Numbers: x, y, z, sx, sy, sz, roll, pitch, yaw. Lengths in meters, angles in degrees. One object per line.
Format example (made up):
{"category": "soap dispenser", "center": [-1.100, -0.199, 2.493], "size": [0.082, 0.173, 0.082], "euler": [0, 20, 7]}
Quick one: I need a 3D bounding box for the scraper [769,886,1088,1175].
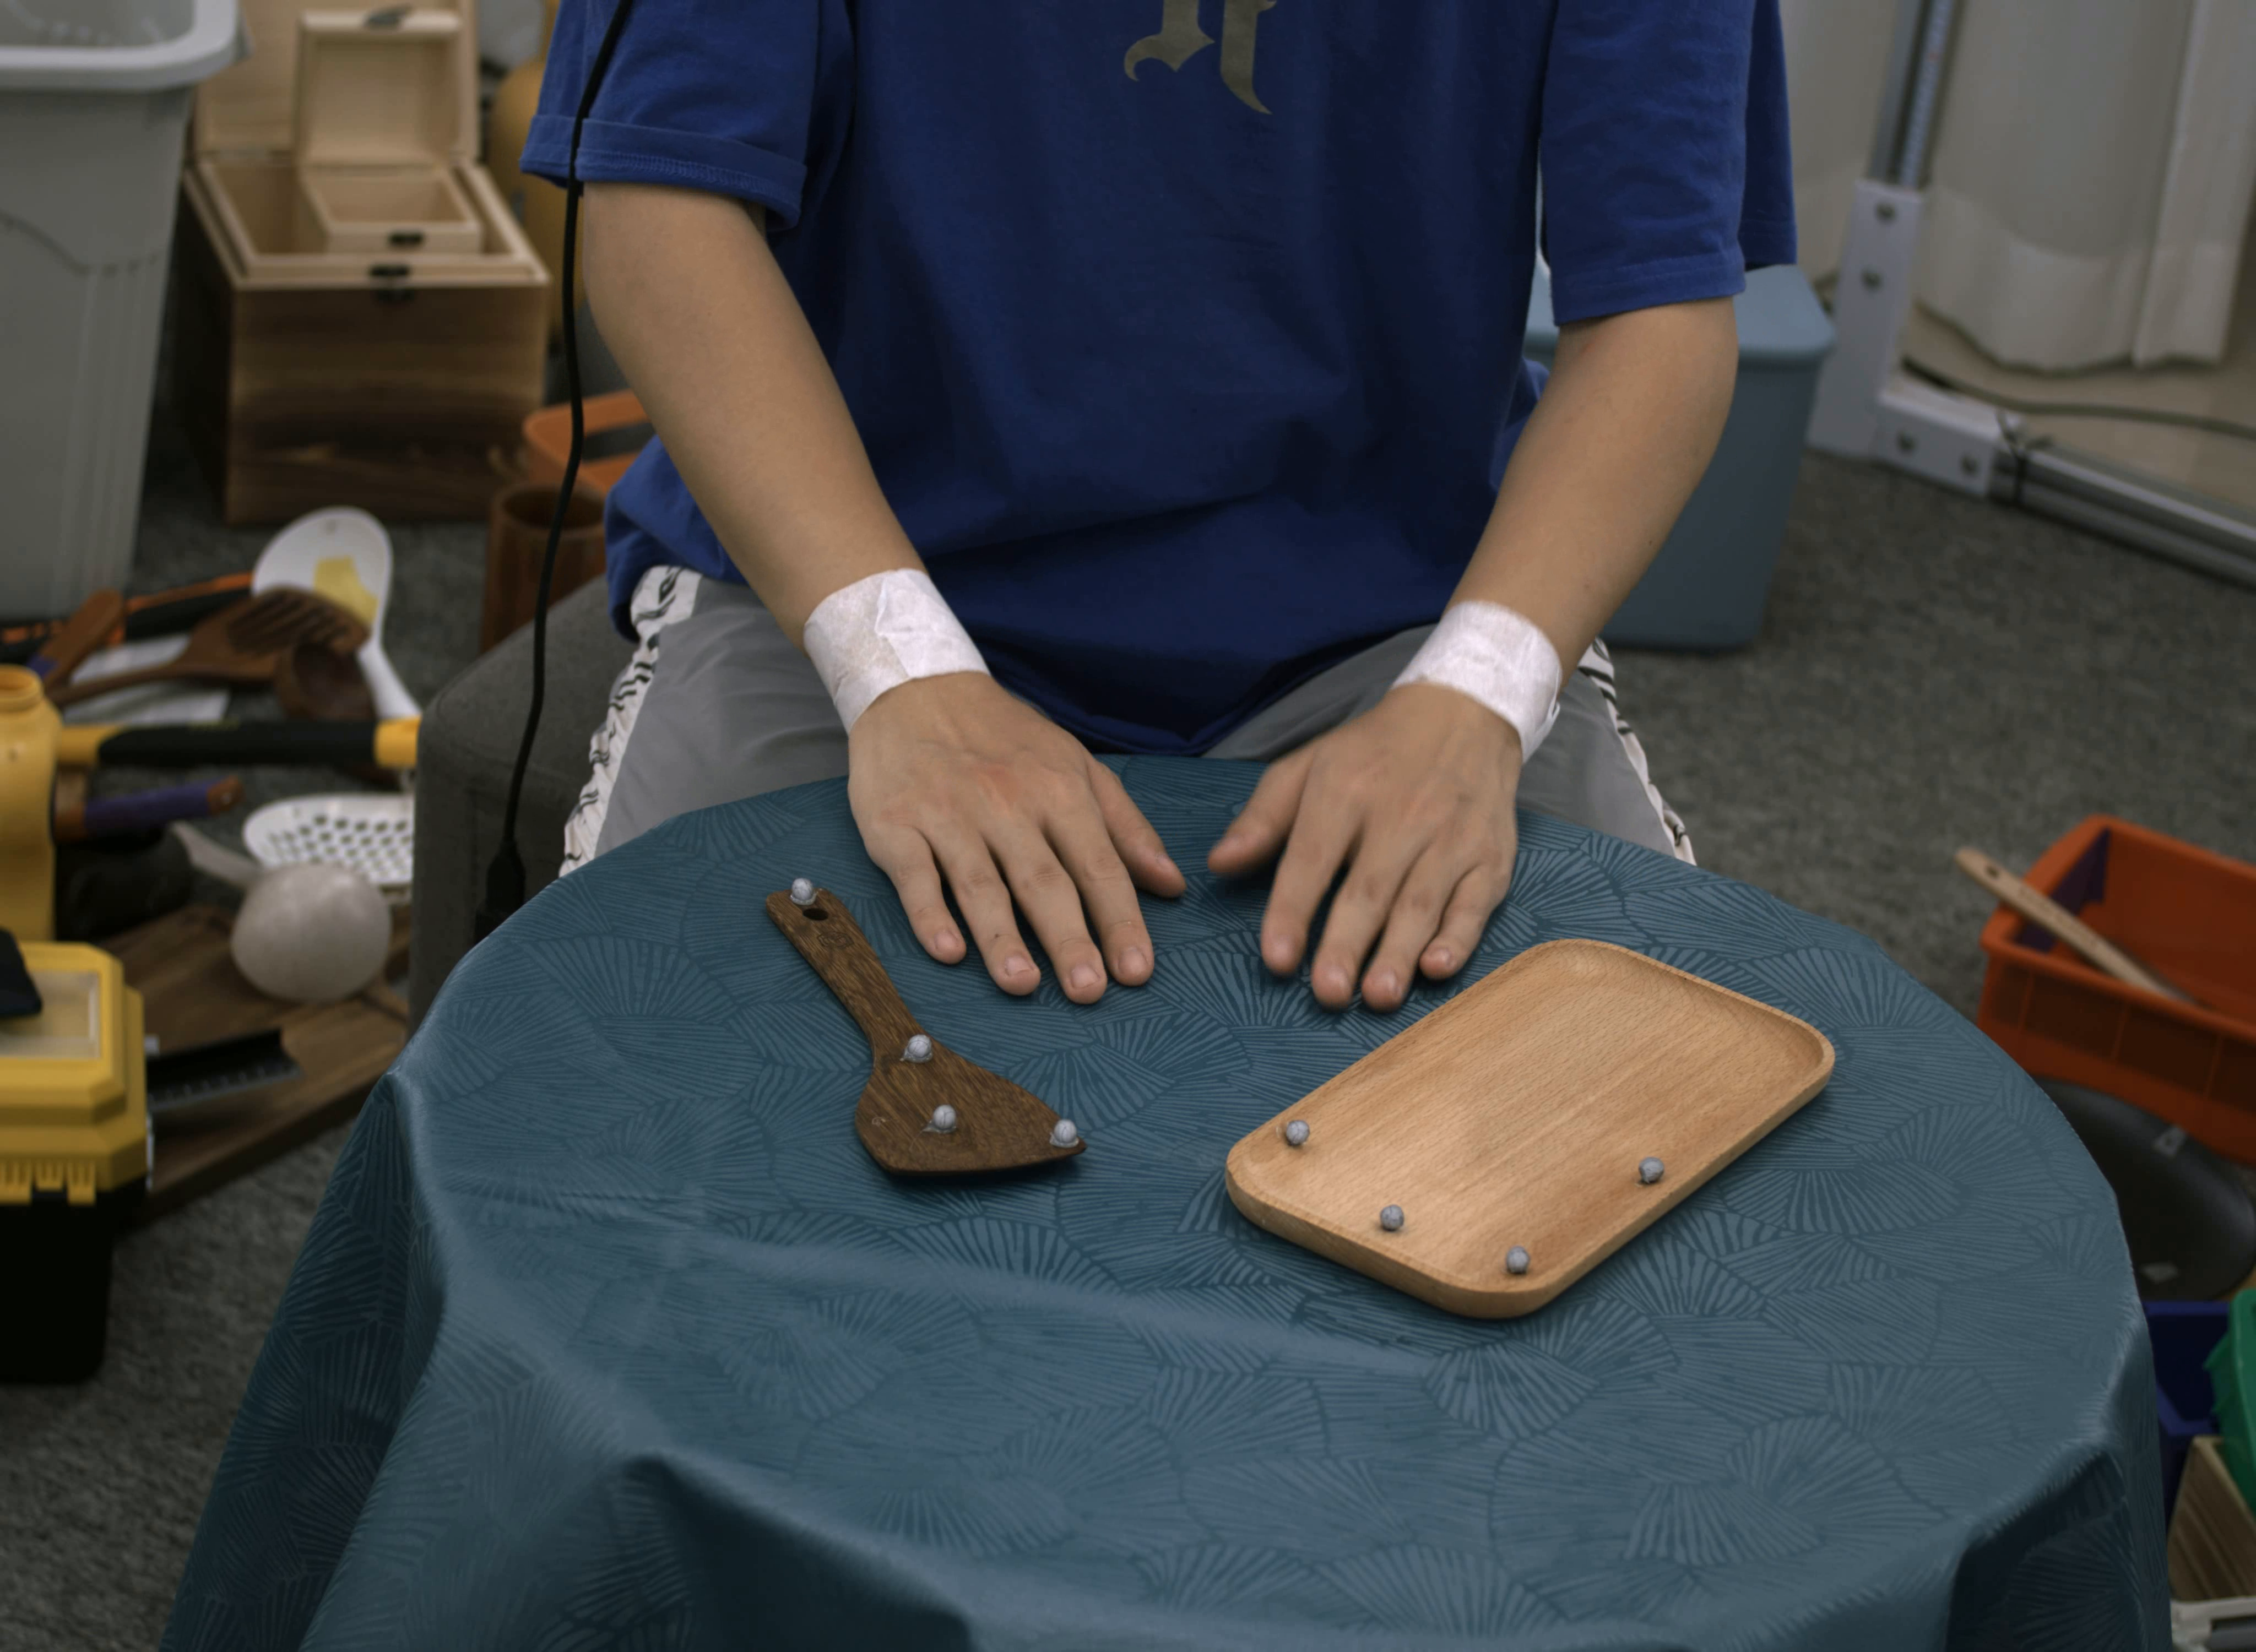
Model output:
{"category": "scraper", "center": [-0.083, 0.071, 1.878], "size": [0.075, 0.011, 0.213], "euler": [-4, 28, -22]}

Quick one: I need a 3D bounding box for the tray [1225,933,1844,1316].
{"category": "tray", "center": [0.144, 0.102, 1.860], "size": [0.131, 0.023, 0.250], "euler": [25, 32, 28]}
